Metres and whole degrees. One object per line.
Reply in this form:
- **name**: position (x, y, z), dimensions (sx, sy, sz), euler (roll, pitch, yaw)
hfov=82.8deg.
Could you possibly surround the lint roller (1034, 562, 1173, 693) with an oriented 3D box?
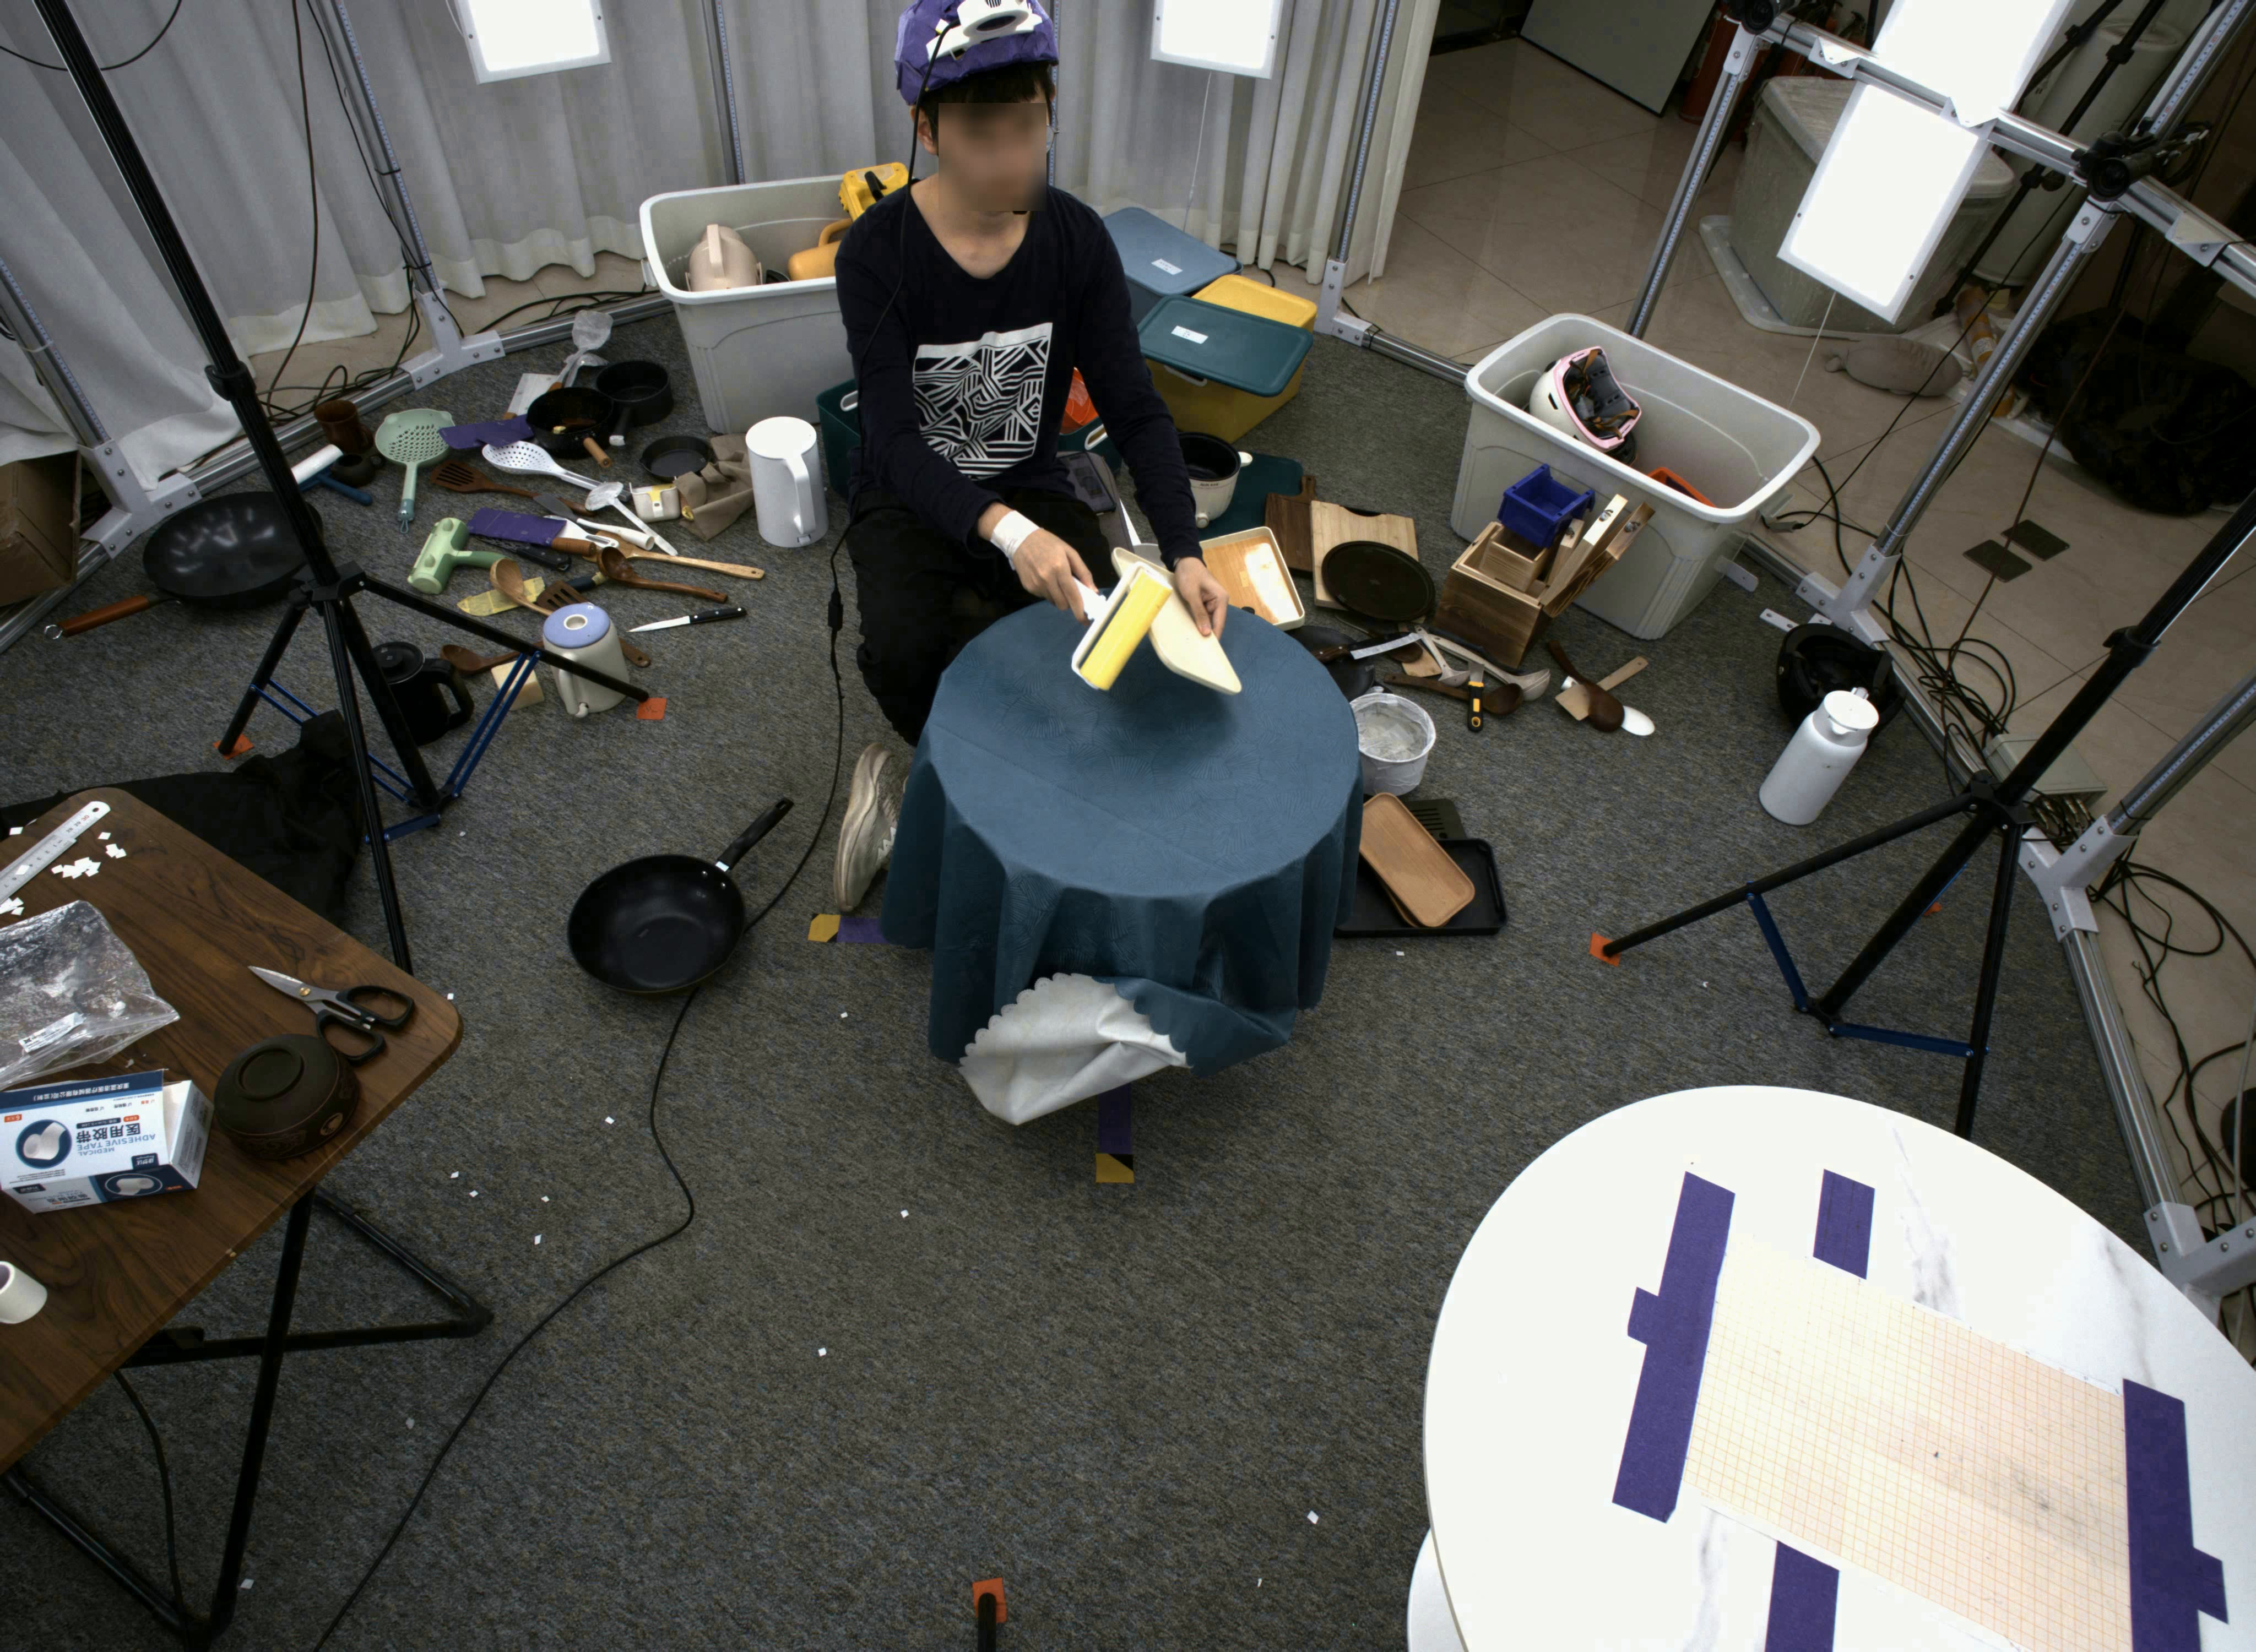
- **lint roller**: position (-0.057, -0.298, 1.723), dimensions (0.194, 0.173, 0.051), euler (37, 14, 16)

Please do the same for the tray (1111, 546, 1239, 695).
- **tray**: position (0.063, -0.285, 1.795), dimensions (0.169, 0.017, 0.245), euler (17, 40, -45)
